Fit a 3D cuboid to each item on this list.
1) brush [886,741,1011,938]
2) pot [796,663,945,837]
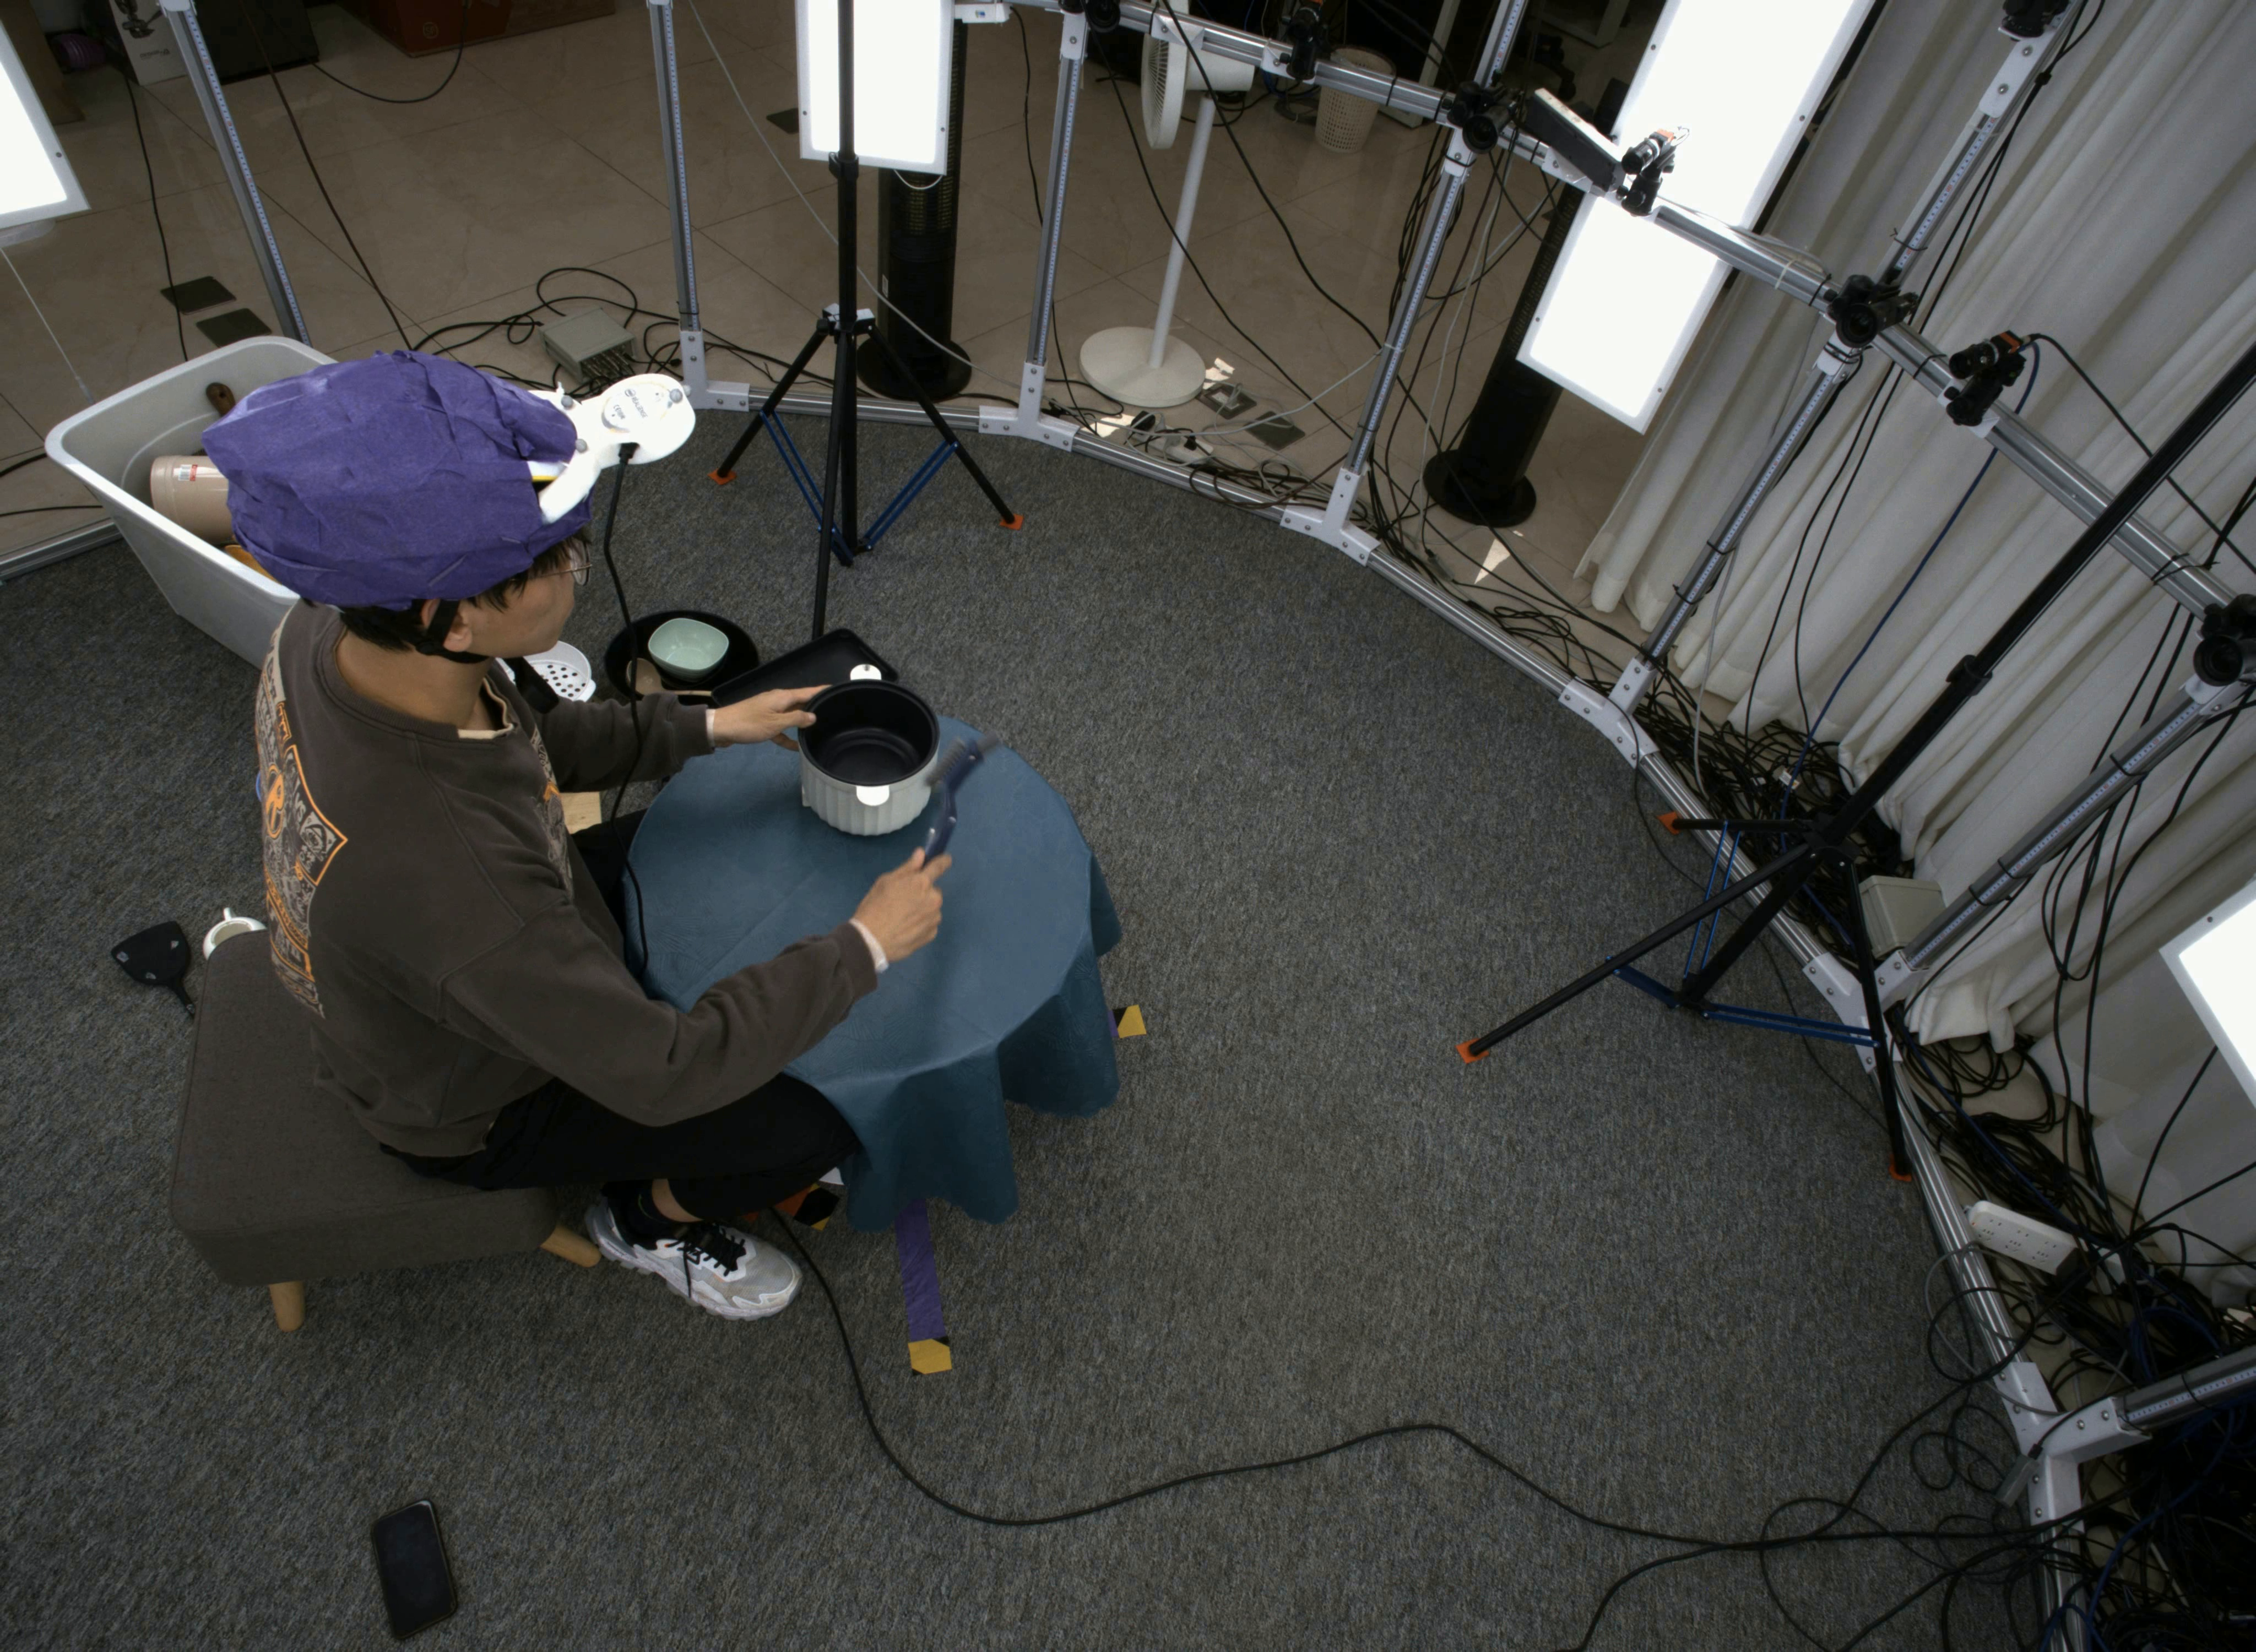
[{"bbox_3d":[-0.217,0.009,1.560,0.093,0.035,0.270,1,56,18],"label":"brush"},{"bbox_3d":[-0.340,-0.086,1.732,0.190,0.146,0.235,-5,56,-12],"label":"pot"}]
